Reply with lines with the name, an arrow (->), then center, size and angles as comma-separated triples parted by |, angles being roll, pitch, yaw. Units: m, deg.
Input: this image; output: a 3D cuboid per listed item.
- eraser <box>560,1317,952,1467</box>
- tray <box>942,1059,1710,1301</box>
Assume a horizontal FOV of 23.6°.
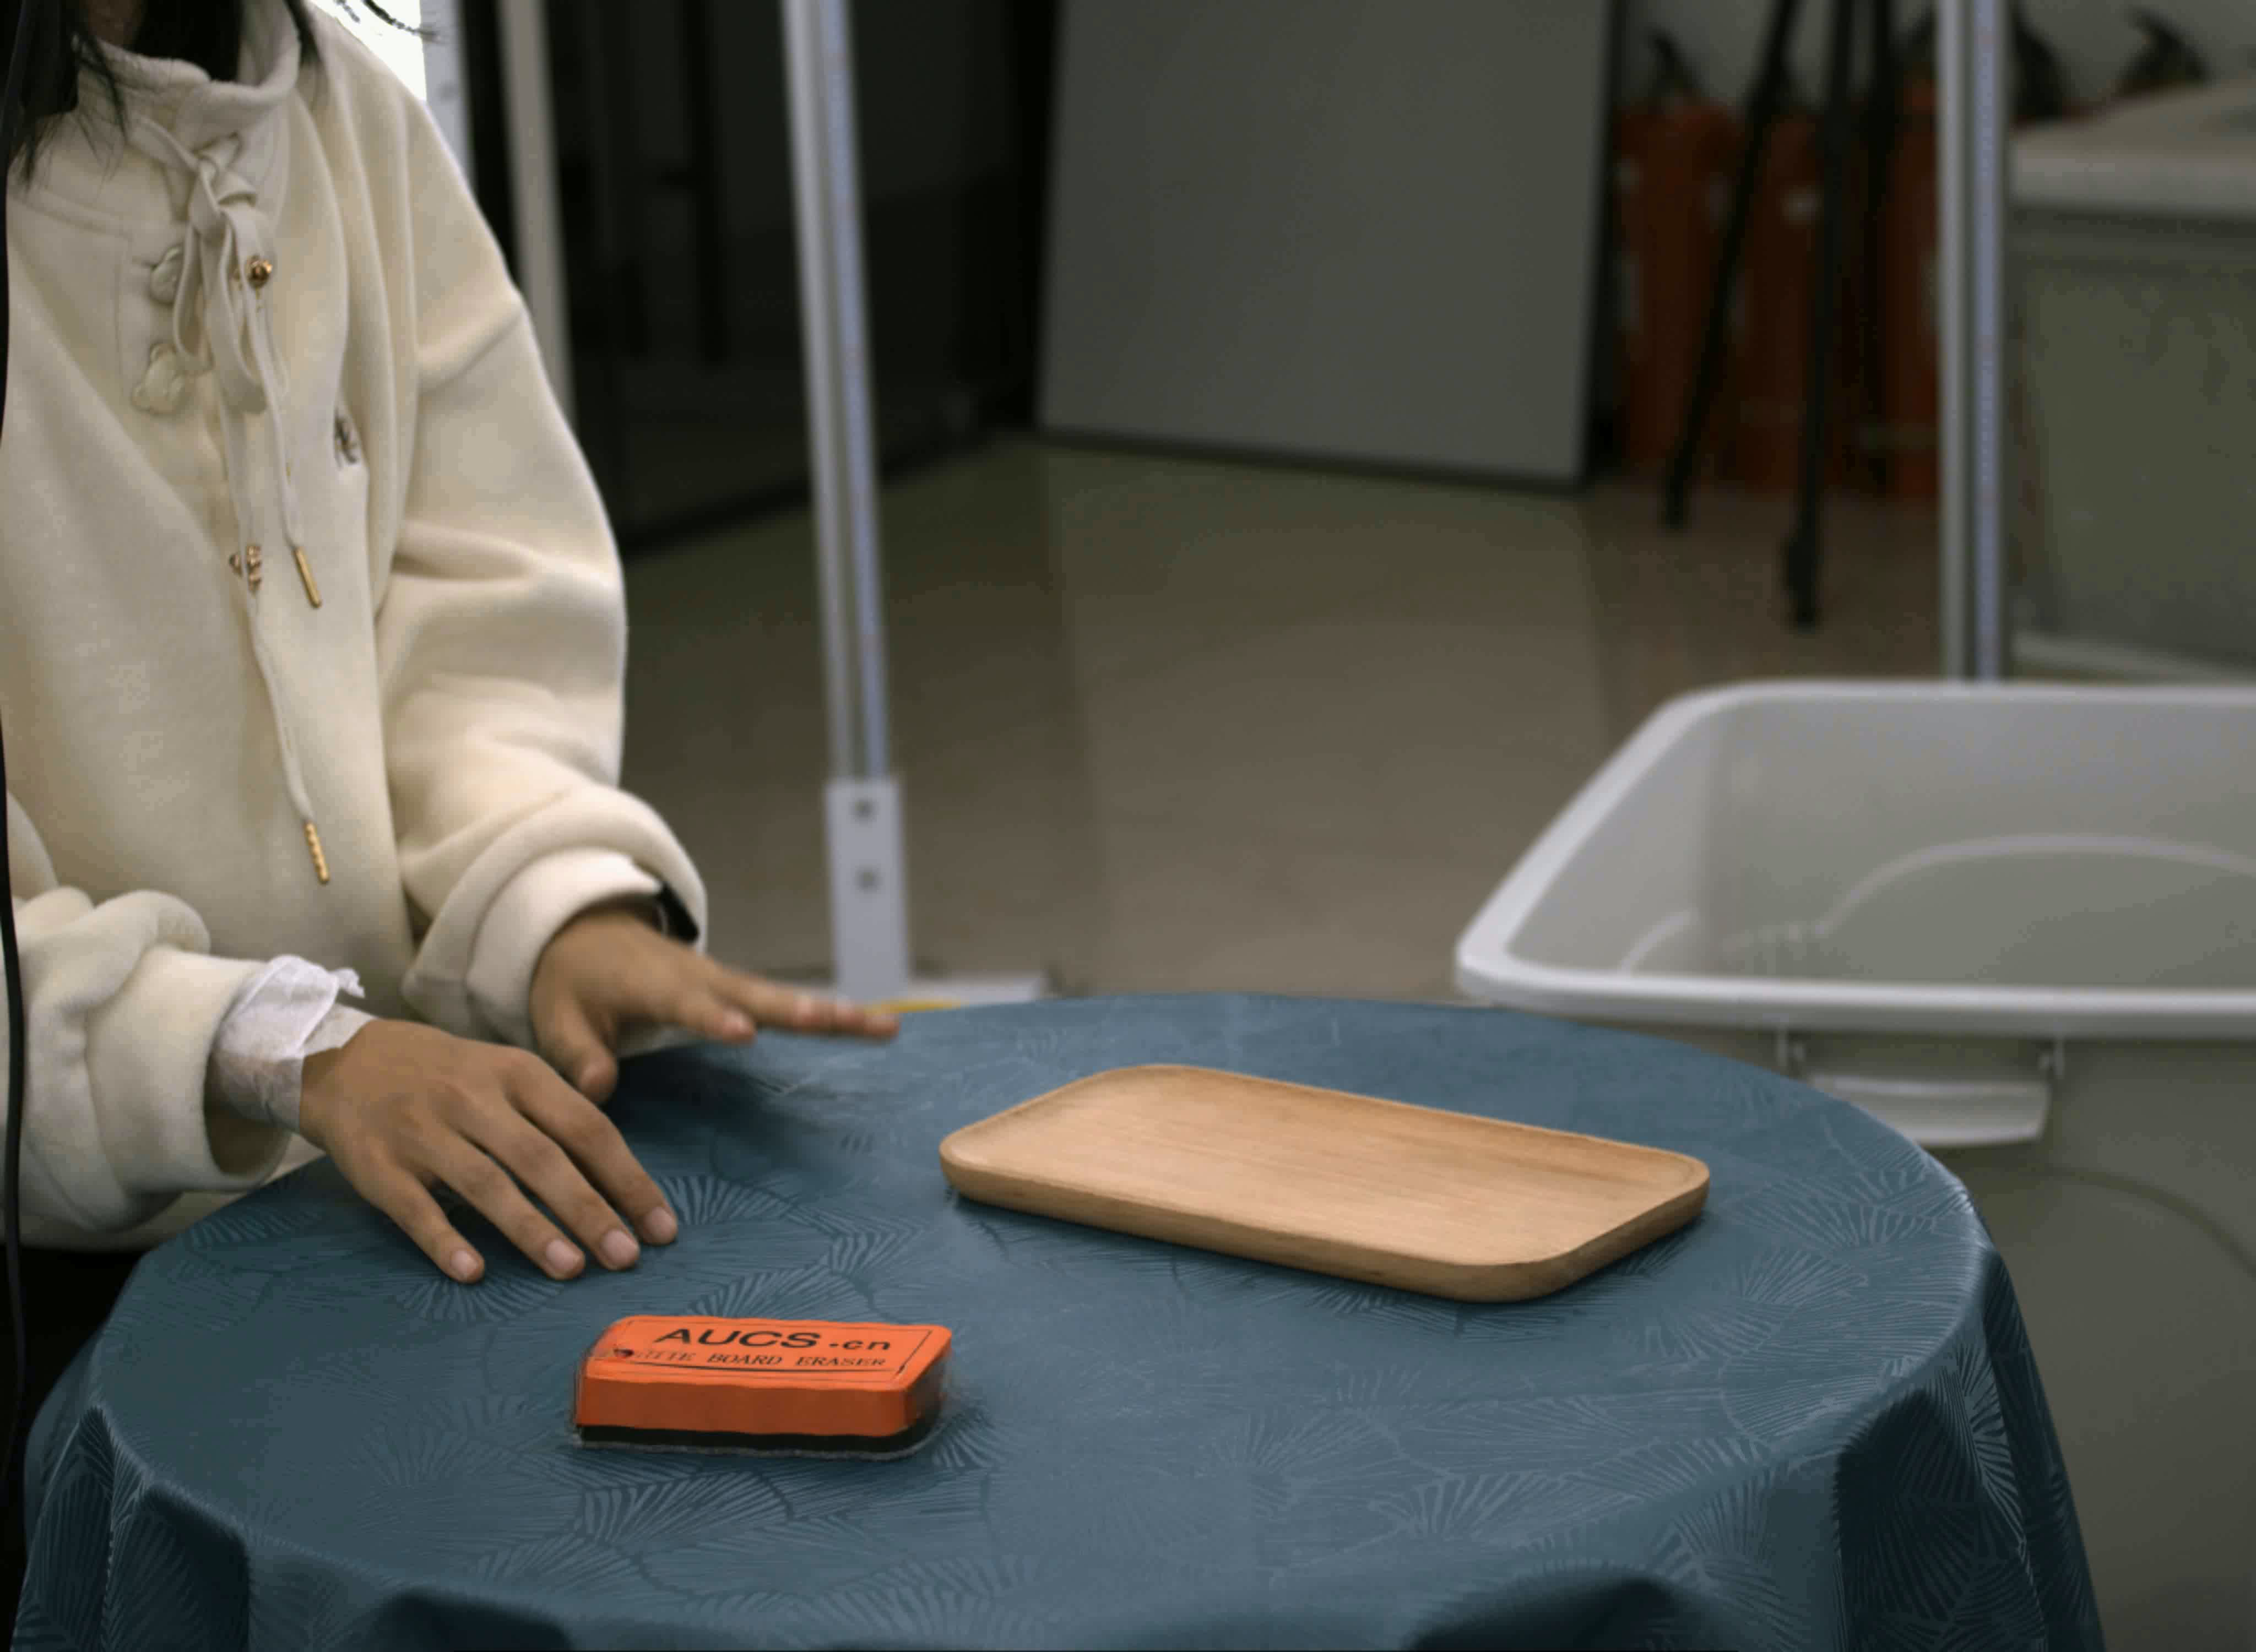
eraser -> -0.108, 0.165, 1.577 | 0.107, 0.023, 0.058 | 1, 16, 17
tray -> 0.062, 0.113, 1.746 | 0.253, 0.023, 0.128 | 8, 15, 41
